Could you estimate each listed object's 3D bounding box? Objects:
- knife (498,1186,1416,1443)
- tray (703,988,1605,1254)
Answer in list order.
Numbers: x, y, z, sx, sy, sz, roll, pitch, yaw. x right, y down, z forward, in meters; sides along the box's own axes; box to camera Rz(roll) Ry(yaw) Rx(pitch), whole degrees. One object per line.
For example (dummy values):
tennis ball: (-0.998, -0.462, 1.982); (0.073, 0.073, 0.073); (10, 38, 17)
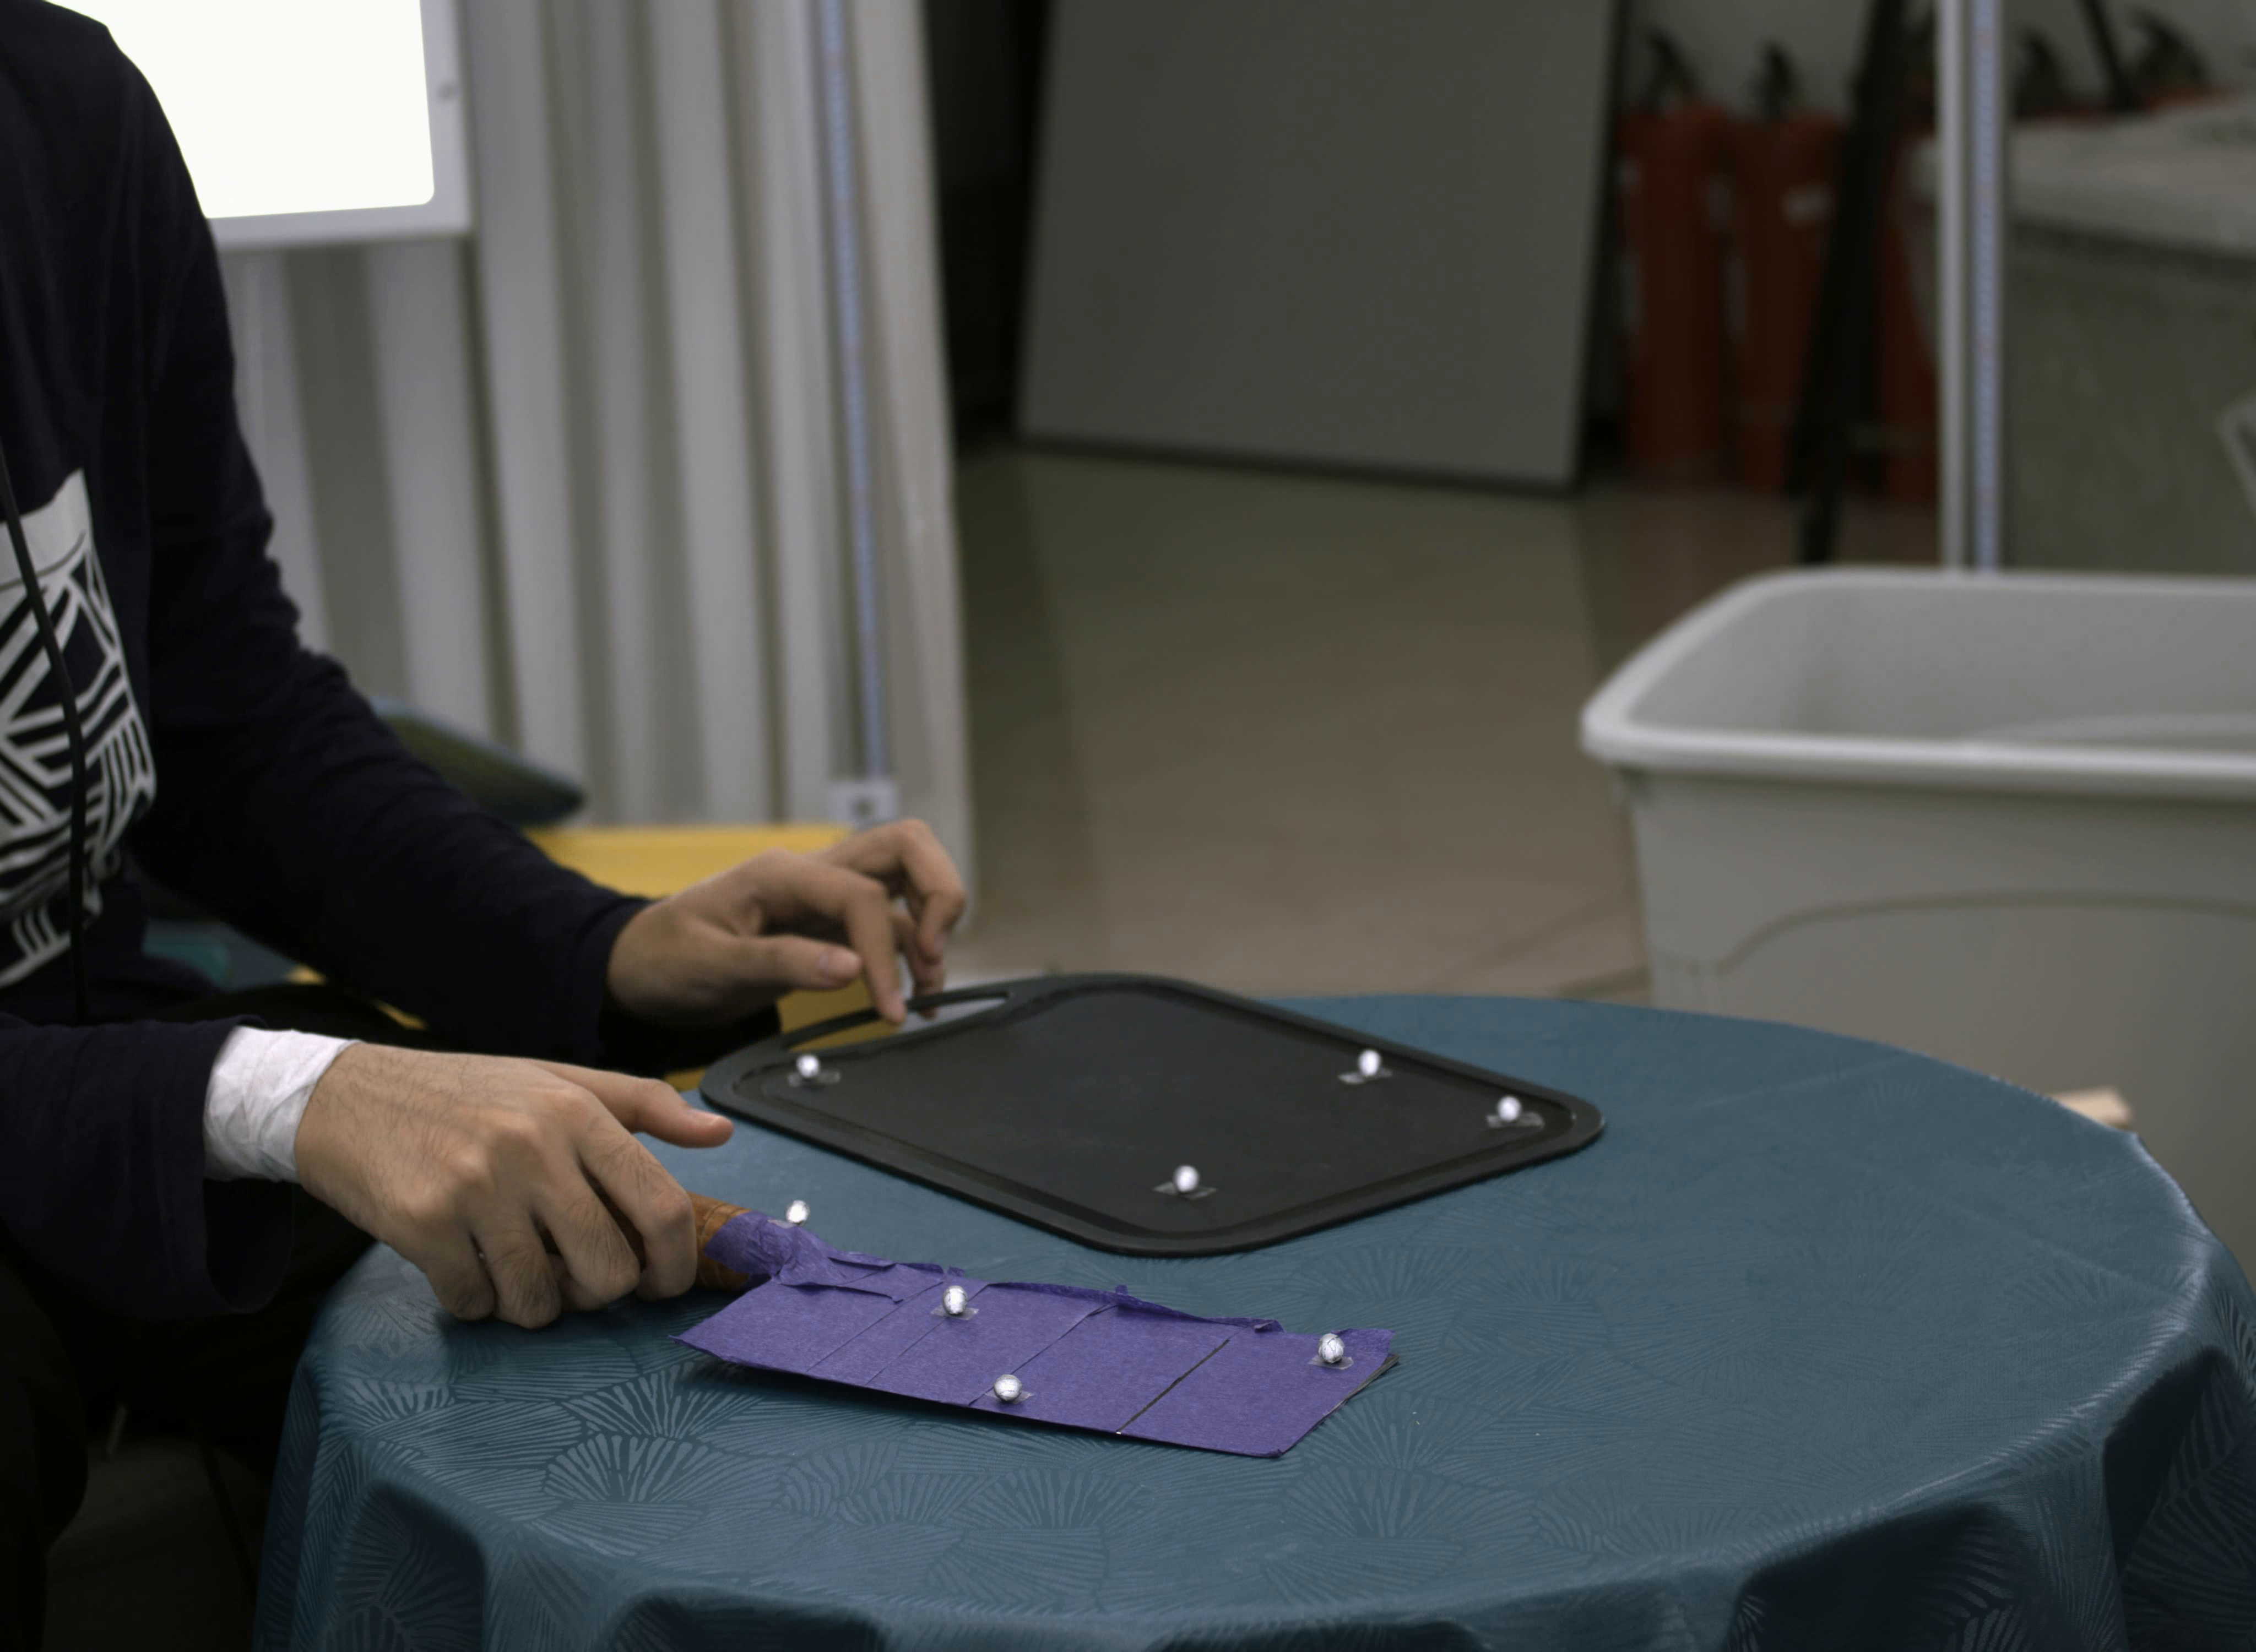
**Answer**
knife: (-0.072, 0.147, 1.633); (0.316, 0.032, 0.102); (4, 15, 29)
tray: (-0.001, 0.096, 1.868); (0.206, 0.010, 0.329); (-13, 16, -34)
